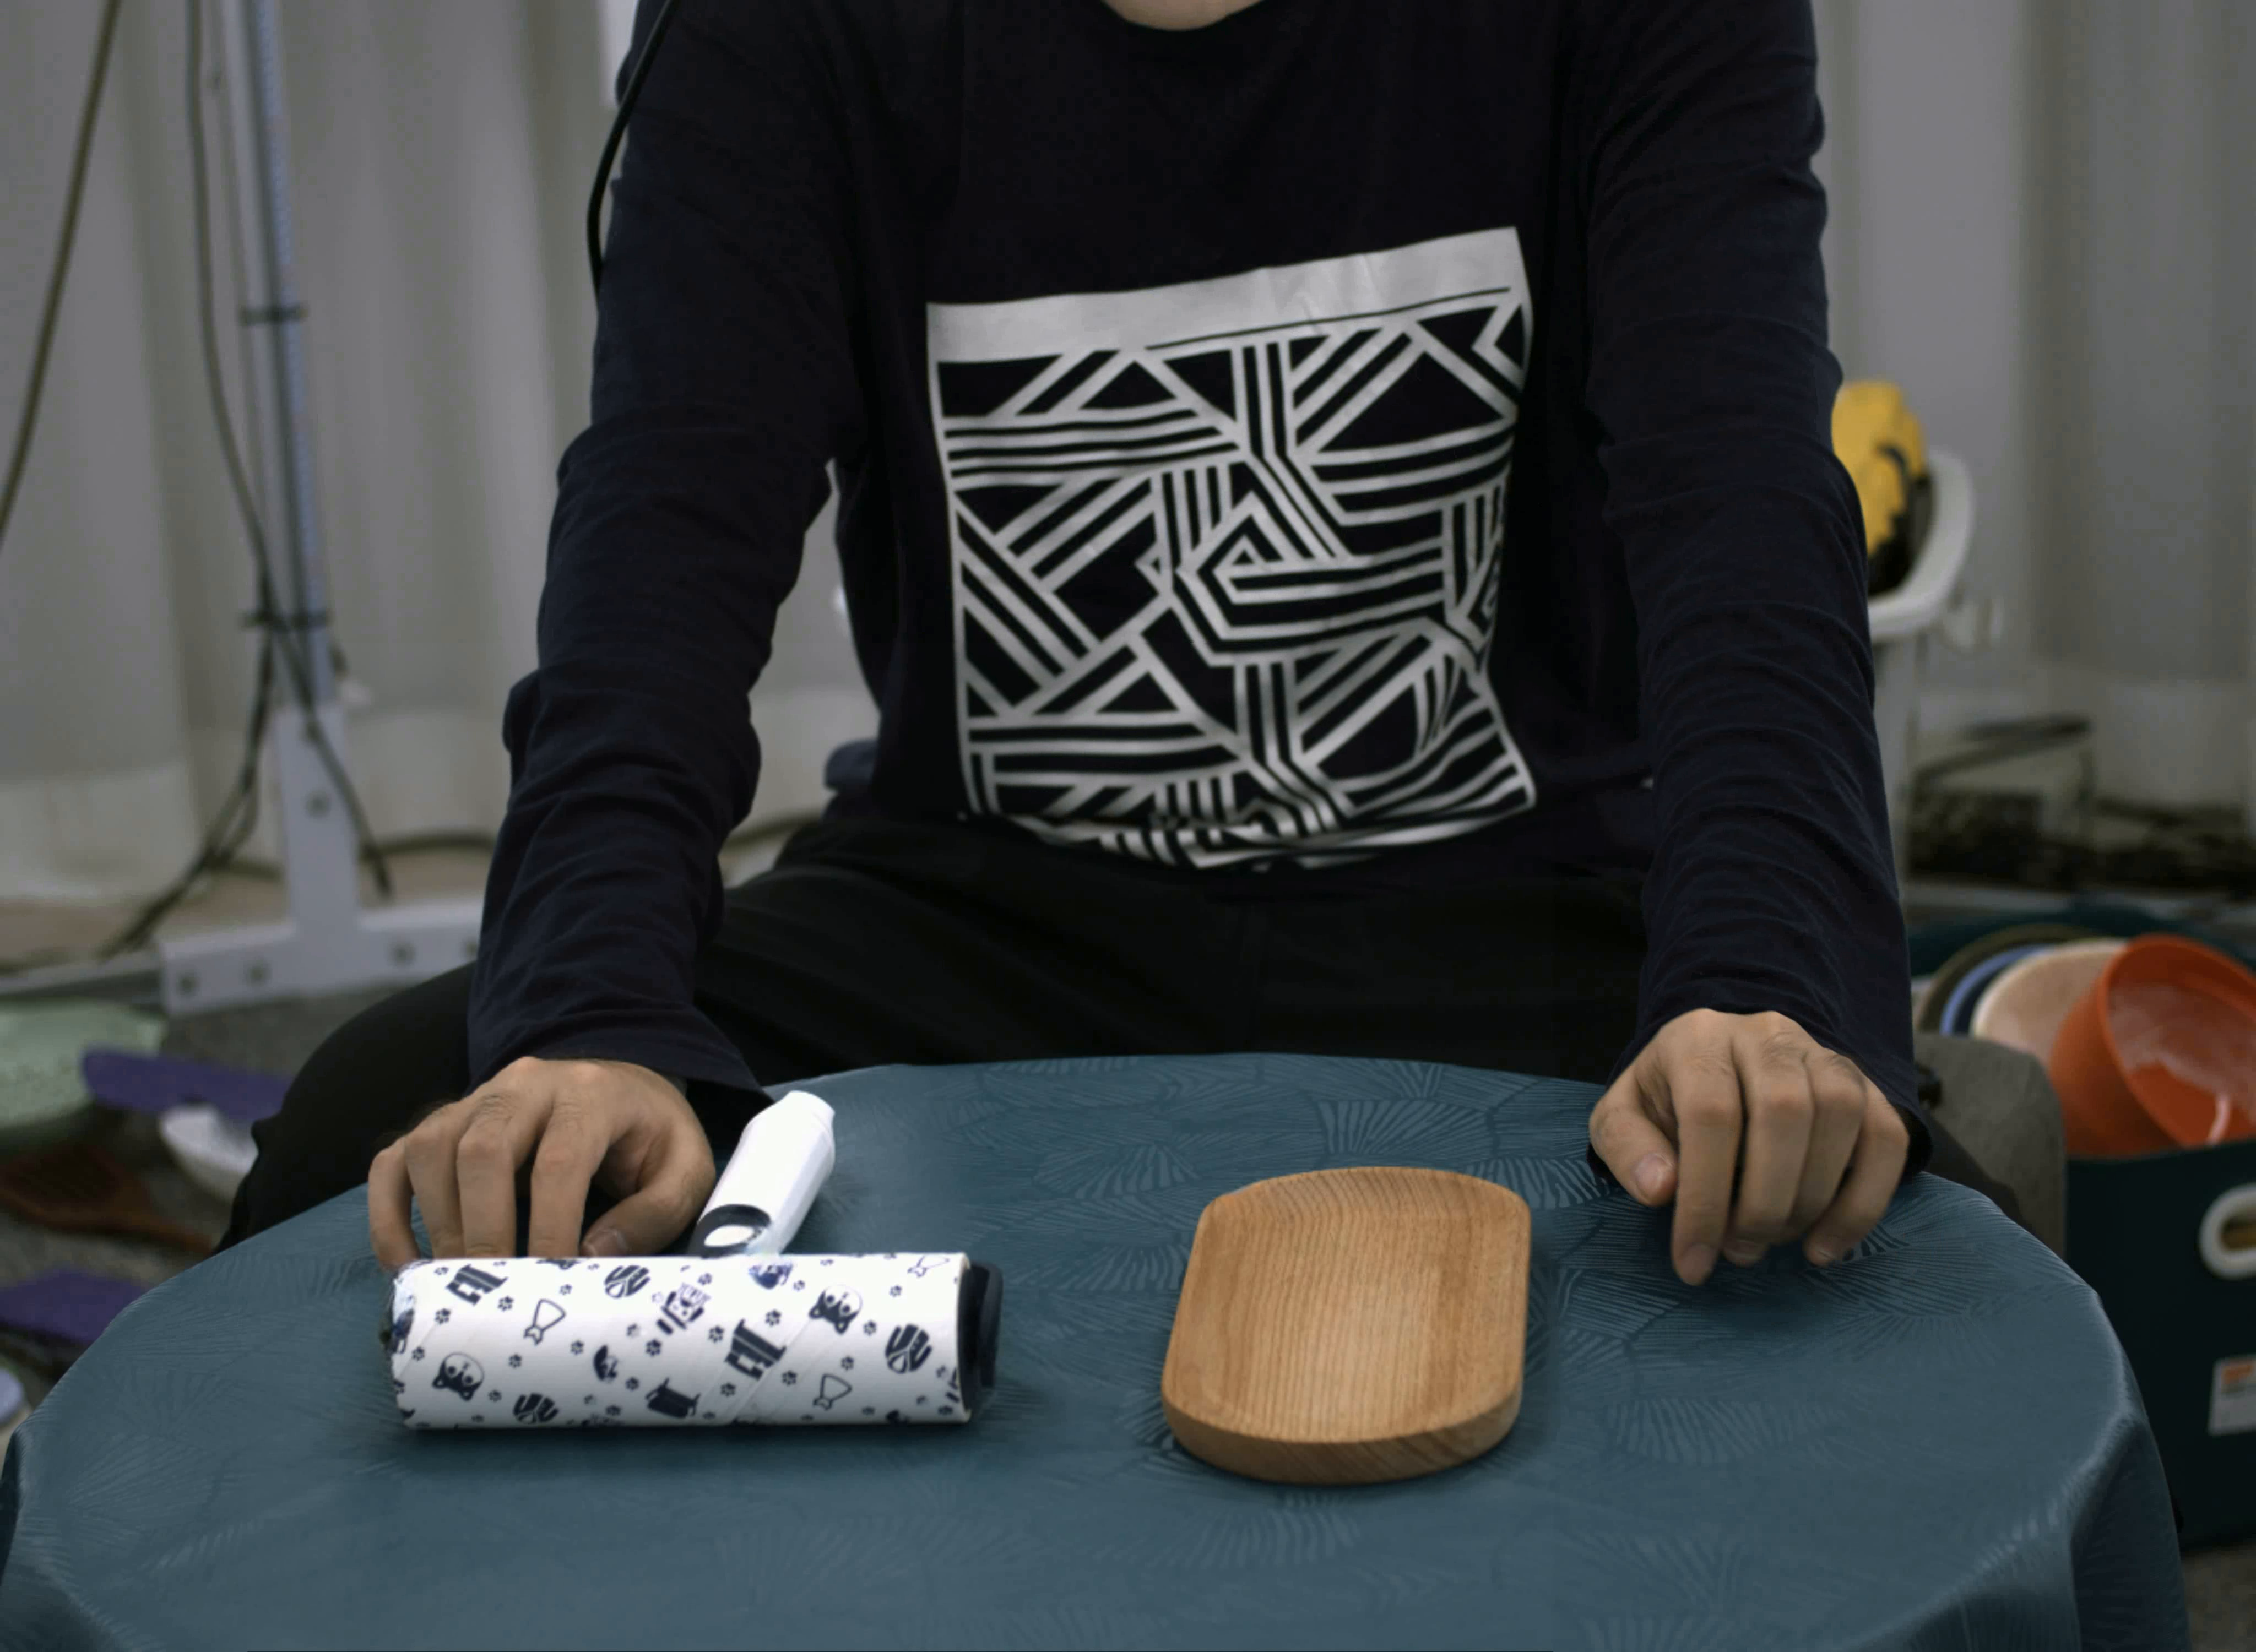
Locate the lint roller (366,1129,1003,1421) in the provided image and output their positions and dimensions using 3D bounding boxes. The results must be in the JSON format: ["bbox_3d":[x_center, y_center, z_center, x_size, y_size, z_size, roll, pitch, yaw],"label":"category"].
[{"bbox_3d":[-0.117,0.123,1.633,0.176,0.050,0.248,-2,11,5],"label":"lint roller"}]

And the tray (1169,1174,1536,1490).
[{"bbox_3d":[0.066,0.143,1.569,0.101,0.020,0.232,-3,16,5],"label":"tray"}]
